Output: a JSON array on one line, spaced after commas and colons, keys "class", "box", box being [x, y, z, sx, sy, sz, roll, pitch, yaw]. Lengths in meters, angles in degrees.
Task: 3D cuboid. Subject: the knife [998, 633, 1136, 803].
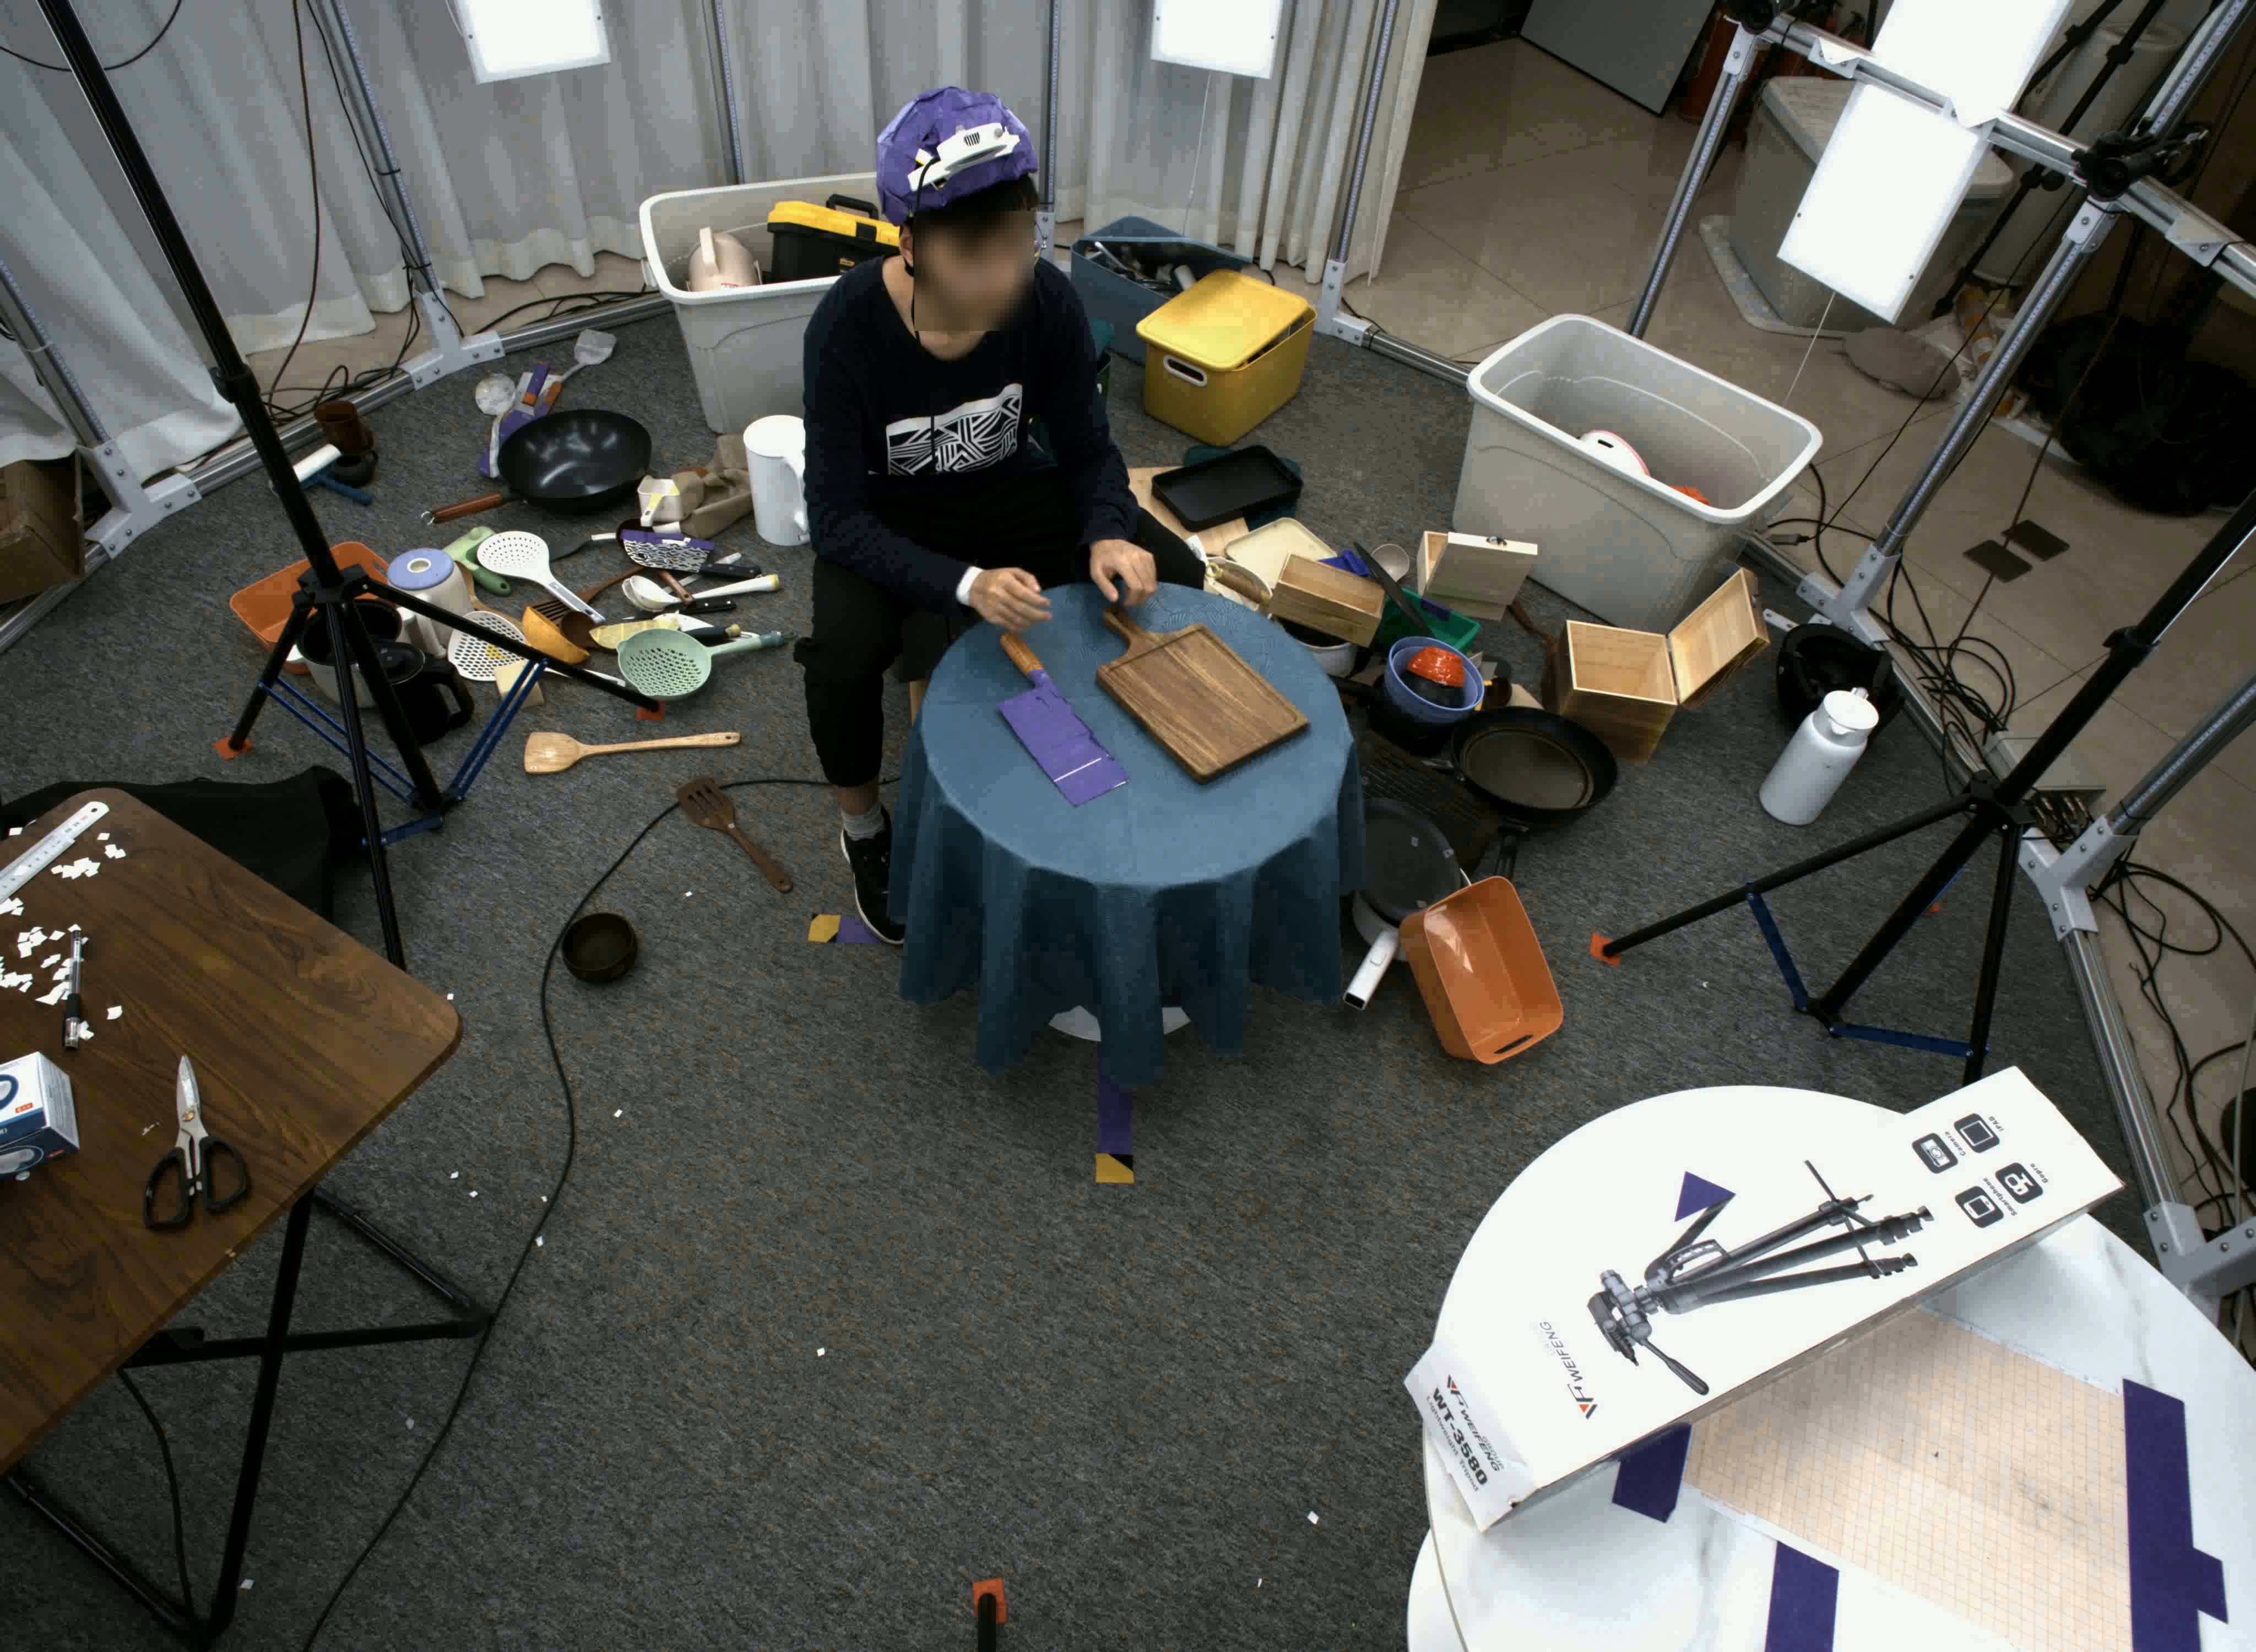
[{"class": "knife", "box": [-0.115, -0.154, 1.776, 0.104, 0.031, 0.321, -24, 55, -23]}]

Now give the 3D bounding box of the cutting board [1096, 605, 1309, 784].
[{"class": "cutting board", "box": [0.075, -0.213, 1.844, 0.202, 0.022, 0.359, -27, 55, -24]}]
